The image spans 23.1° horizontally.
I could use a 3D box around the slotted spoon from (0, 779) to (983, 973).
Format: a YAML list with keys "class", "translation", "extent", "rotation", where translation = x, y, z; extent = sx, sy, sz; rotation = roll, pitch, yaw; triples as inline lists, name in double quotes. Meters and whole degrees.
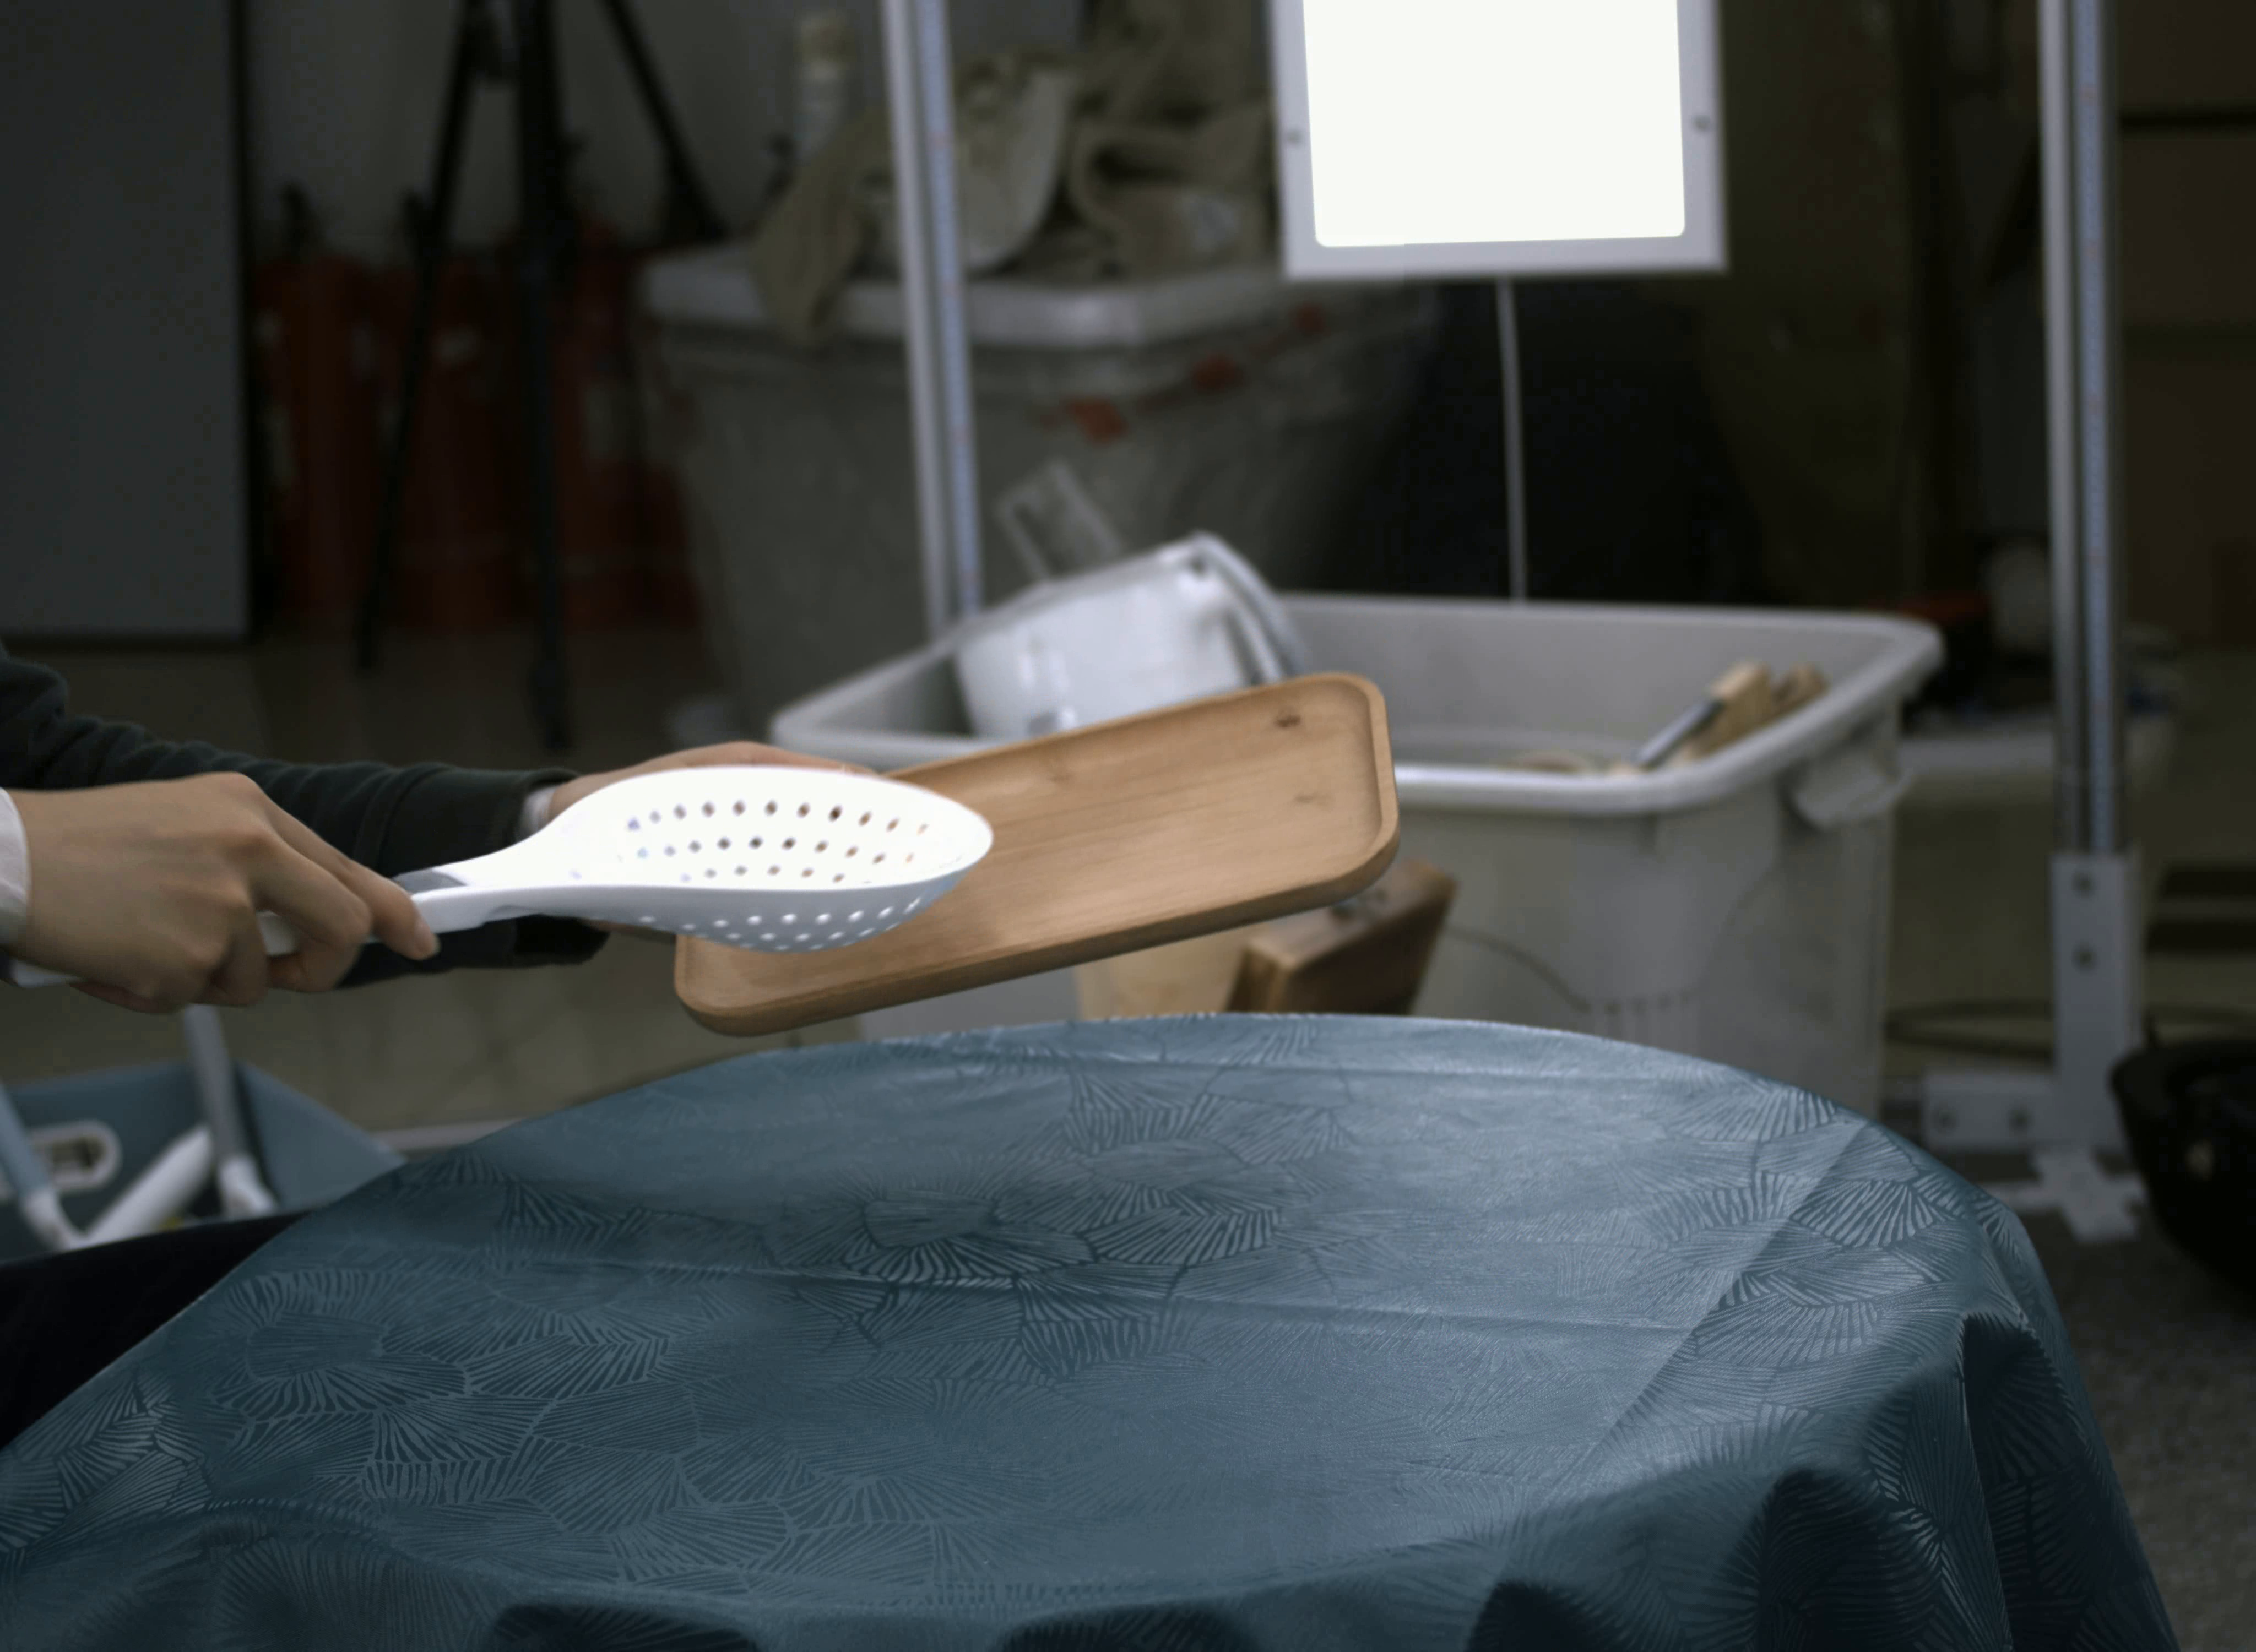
- class: "slotted spoon"
  translation: [-0.200, 0.018, 1.732]
  extent: [0.341, 0.046, 0.139]
  rotation: [-1, 13, -37]

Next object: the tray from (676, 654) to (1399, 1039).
- class: "tray"
  translation: [-0.031, 0.007, 1.860]
  extent: [0.252, 0.023, 0.130]
  rotation: [-14, 33, 10]
